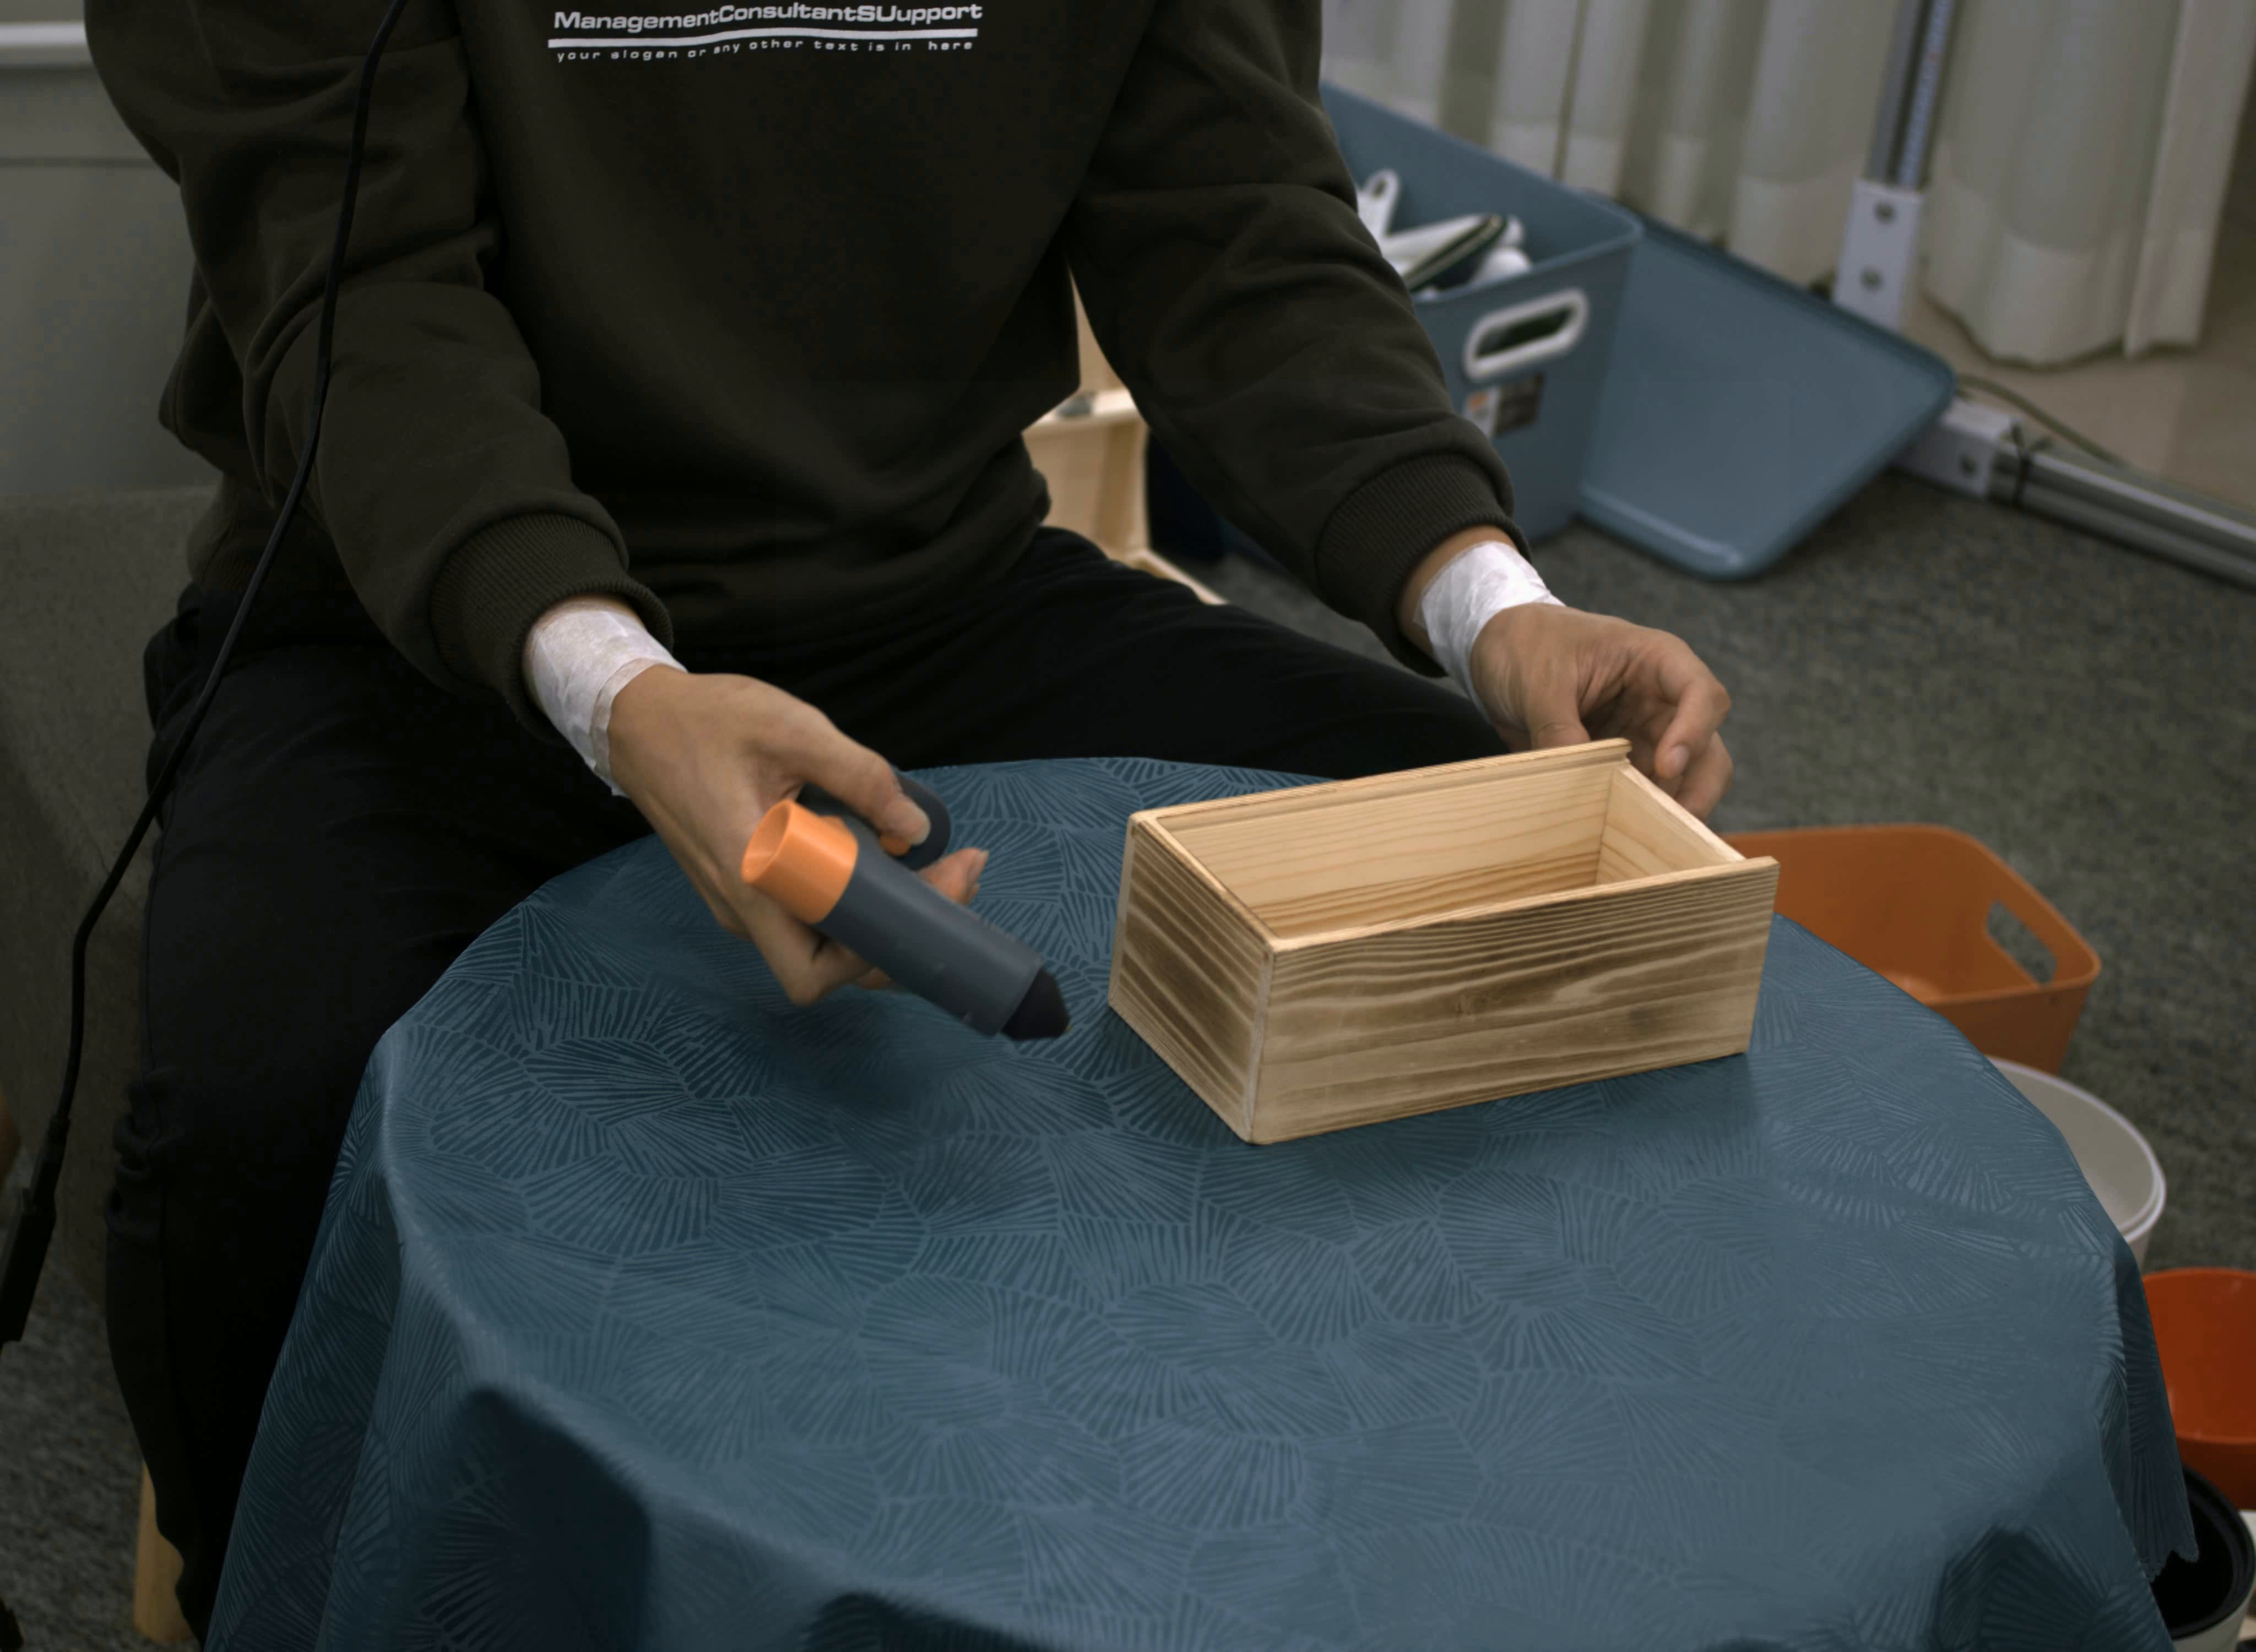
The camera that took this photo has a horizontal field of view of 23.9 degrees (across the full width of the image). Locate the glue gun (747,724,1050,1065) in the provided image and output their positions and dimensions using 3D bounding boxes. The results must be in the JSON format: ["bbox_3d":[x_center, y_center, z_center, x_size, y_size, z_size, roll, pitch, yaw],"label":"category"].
[{"bbox_3d":[-0.082,0.023,1.844,0.117,0.041,0.141,38,10,-24],"label":"glue gun"}]

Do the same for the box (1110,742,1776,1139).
[{"bbox_3d":[0.113,0.039,1.915,0.210,0.080,0.108,-9,30,-27],"label":"box"}]
